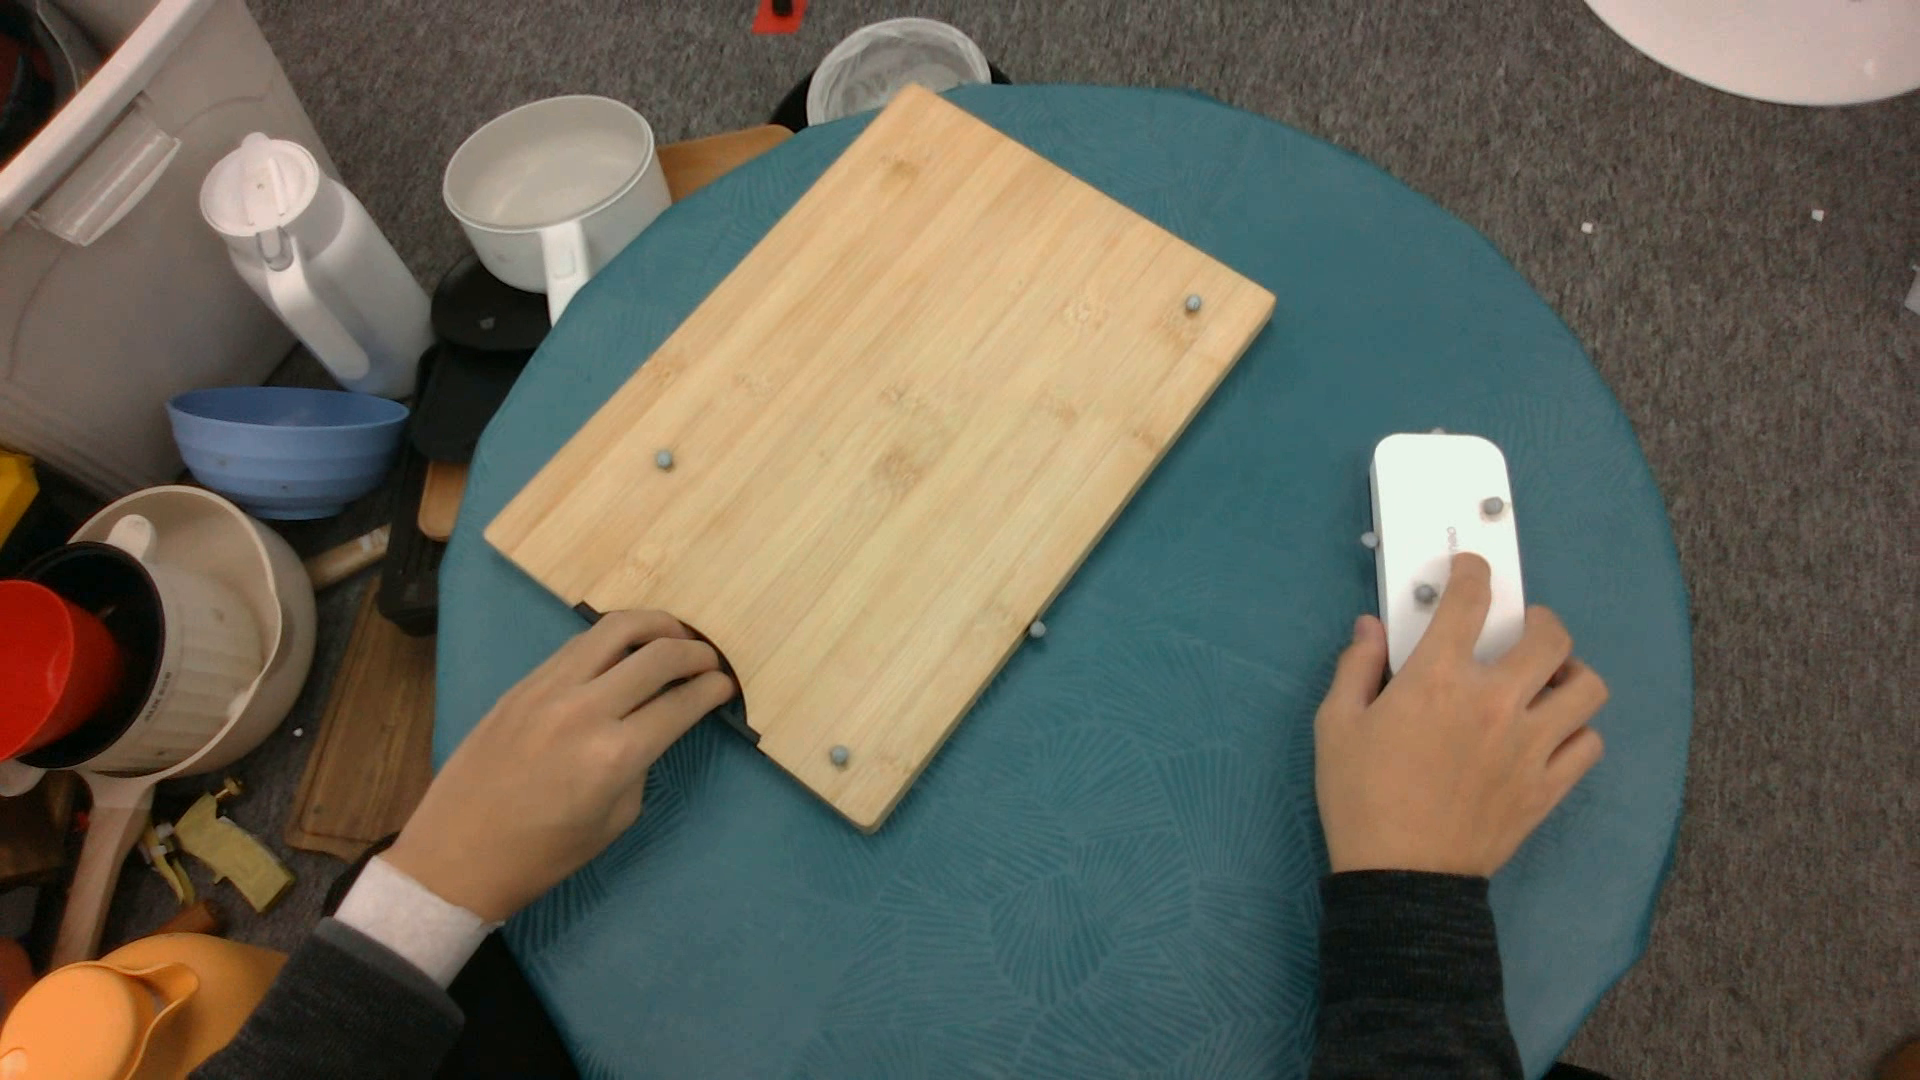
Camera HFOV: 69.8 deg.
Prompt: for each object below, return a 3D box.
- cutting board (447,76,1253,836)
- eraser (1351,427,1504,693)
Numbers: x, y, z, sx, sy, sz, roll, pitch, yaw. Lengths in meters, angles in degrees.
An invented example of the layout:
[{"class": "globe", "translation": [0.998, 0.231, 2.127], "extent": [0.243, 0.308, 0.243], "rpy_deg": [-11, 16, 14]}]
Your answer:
[{"class": "cutting board", "translation": [-0.046, -0.062, 0.692], "extent": [0.251, 0.023, 0.350], "rpy_deg": [33, 71, 14]}, {"class": "eraser", "translation": [0.218, 0.008, 0.652], "extent": [0.063, 0.034, 0.132], "rpy_deg": [4, 66, 1]}]
